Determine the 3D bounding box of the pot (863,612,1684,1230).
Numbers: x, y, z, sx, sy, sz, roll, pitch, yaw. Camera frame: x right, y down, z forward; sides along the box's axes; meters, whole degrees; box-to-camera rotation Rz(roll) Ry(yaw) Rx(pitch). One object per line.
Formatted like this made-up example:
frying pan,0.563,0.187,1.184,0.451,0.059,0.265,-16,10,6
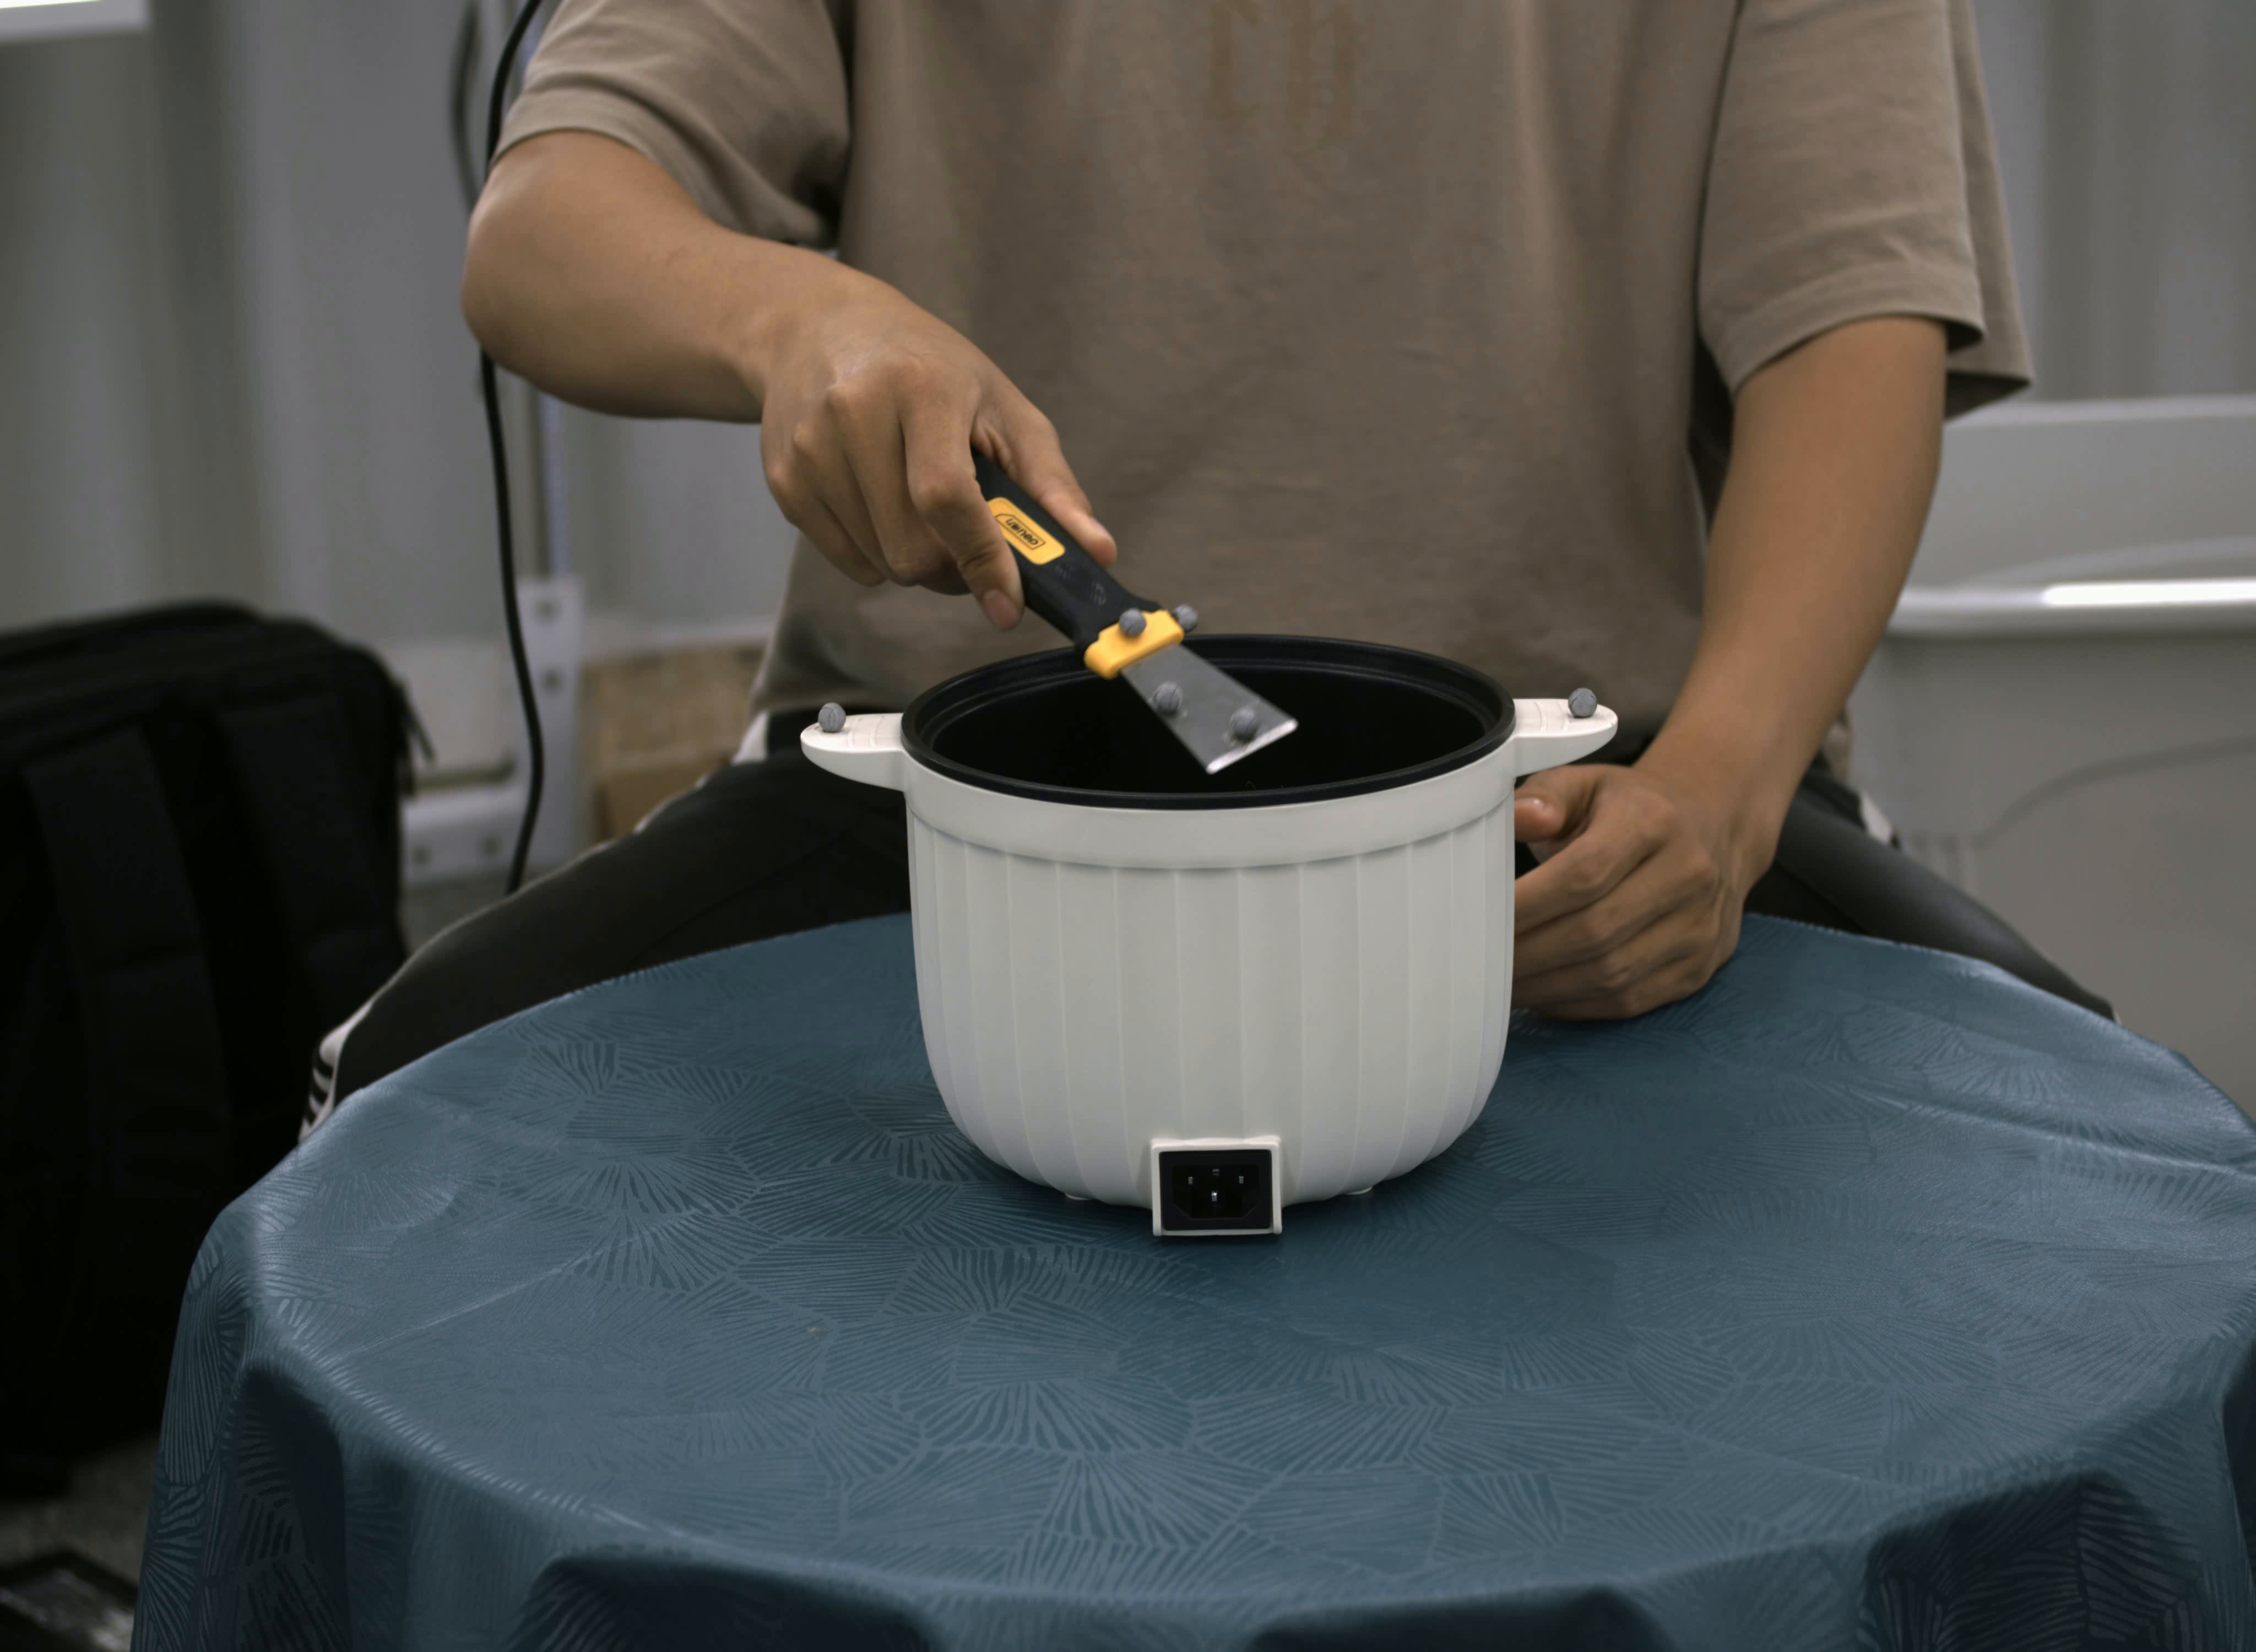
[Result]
pot,0.043,0.025,1.576,0.240,0.142,0.191,0,20,2

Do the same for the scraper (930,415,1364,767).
scraper,0.001,-0.072,1.592,0.038,0.015,0.174,-32,54,-26
